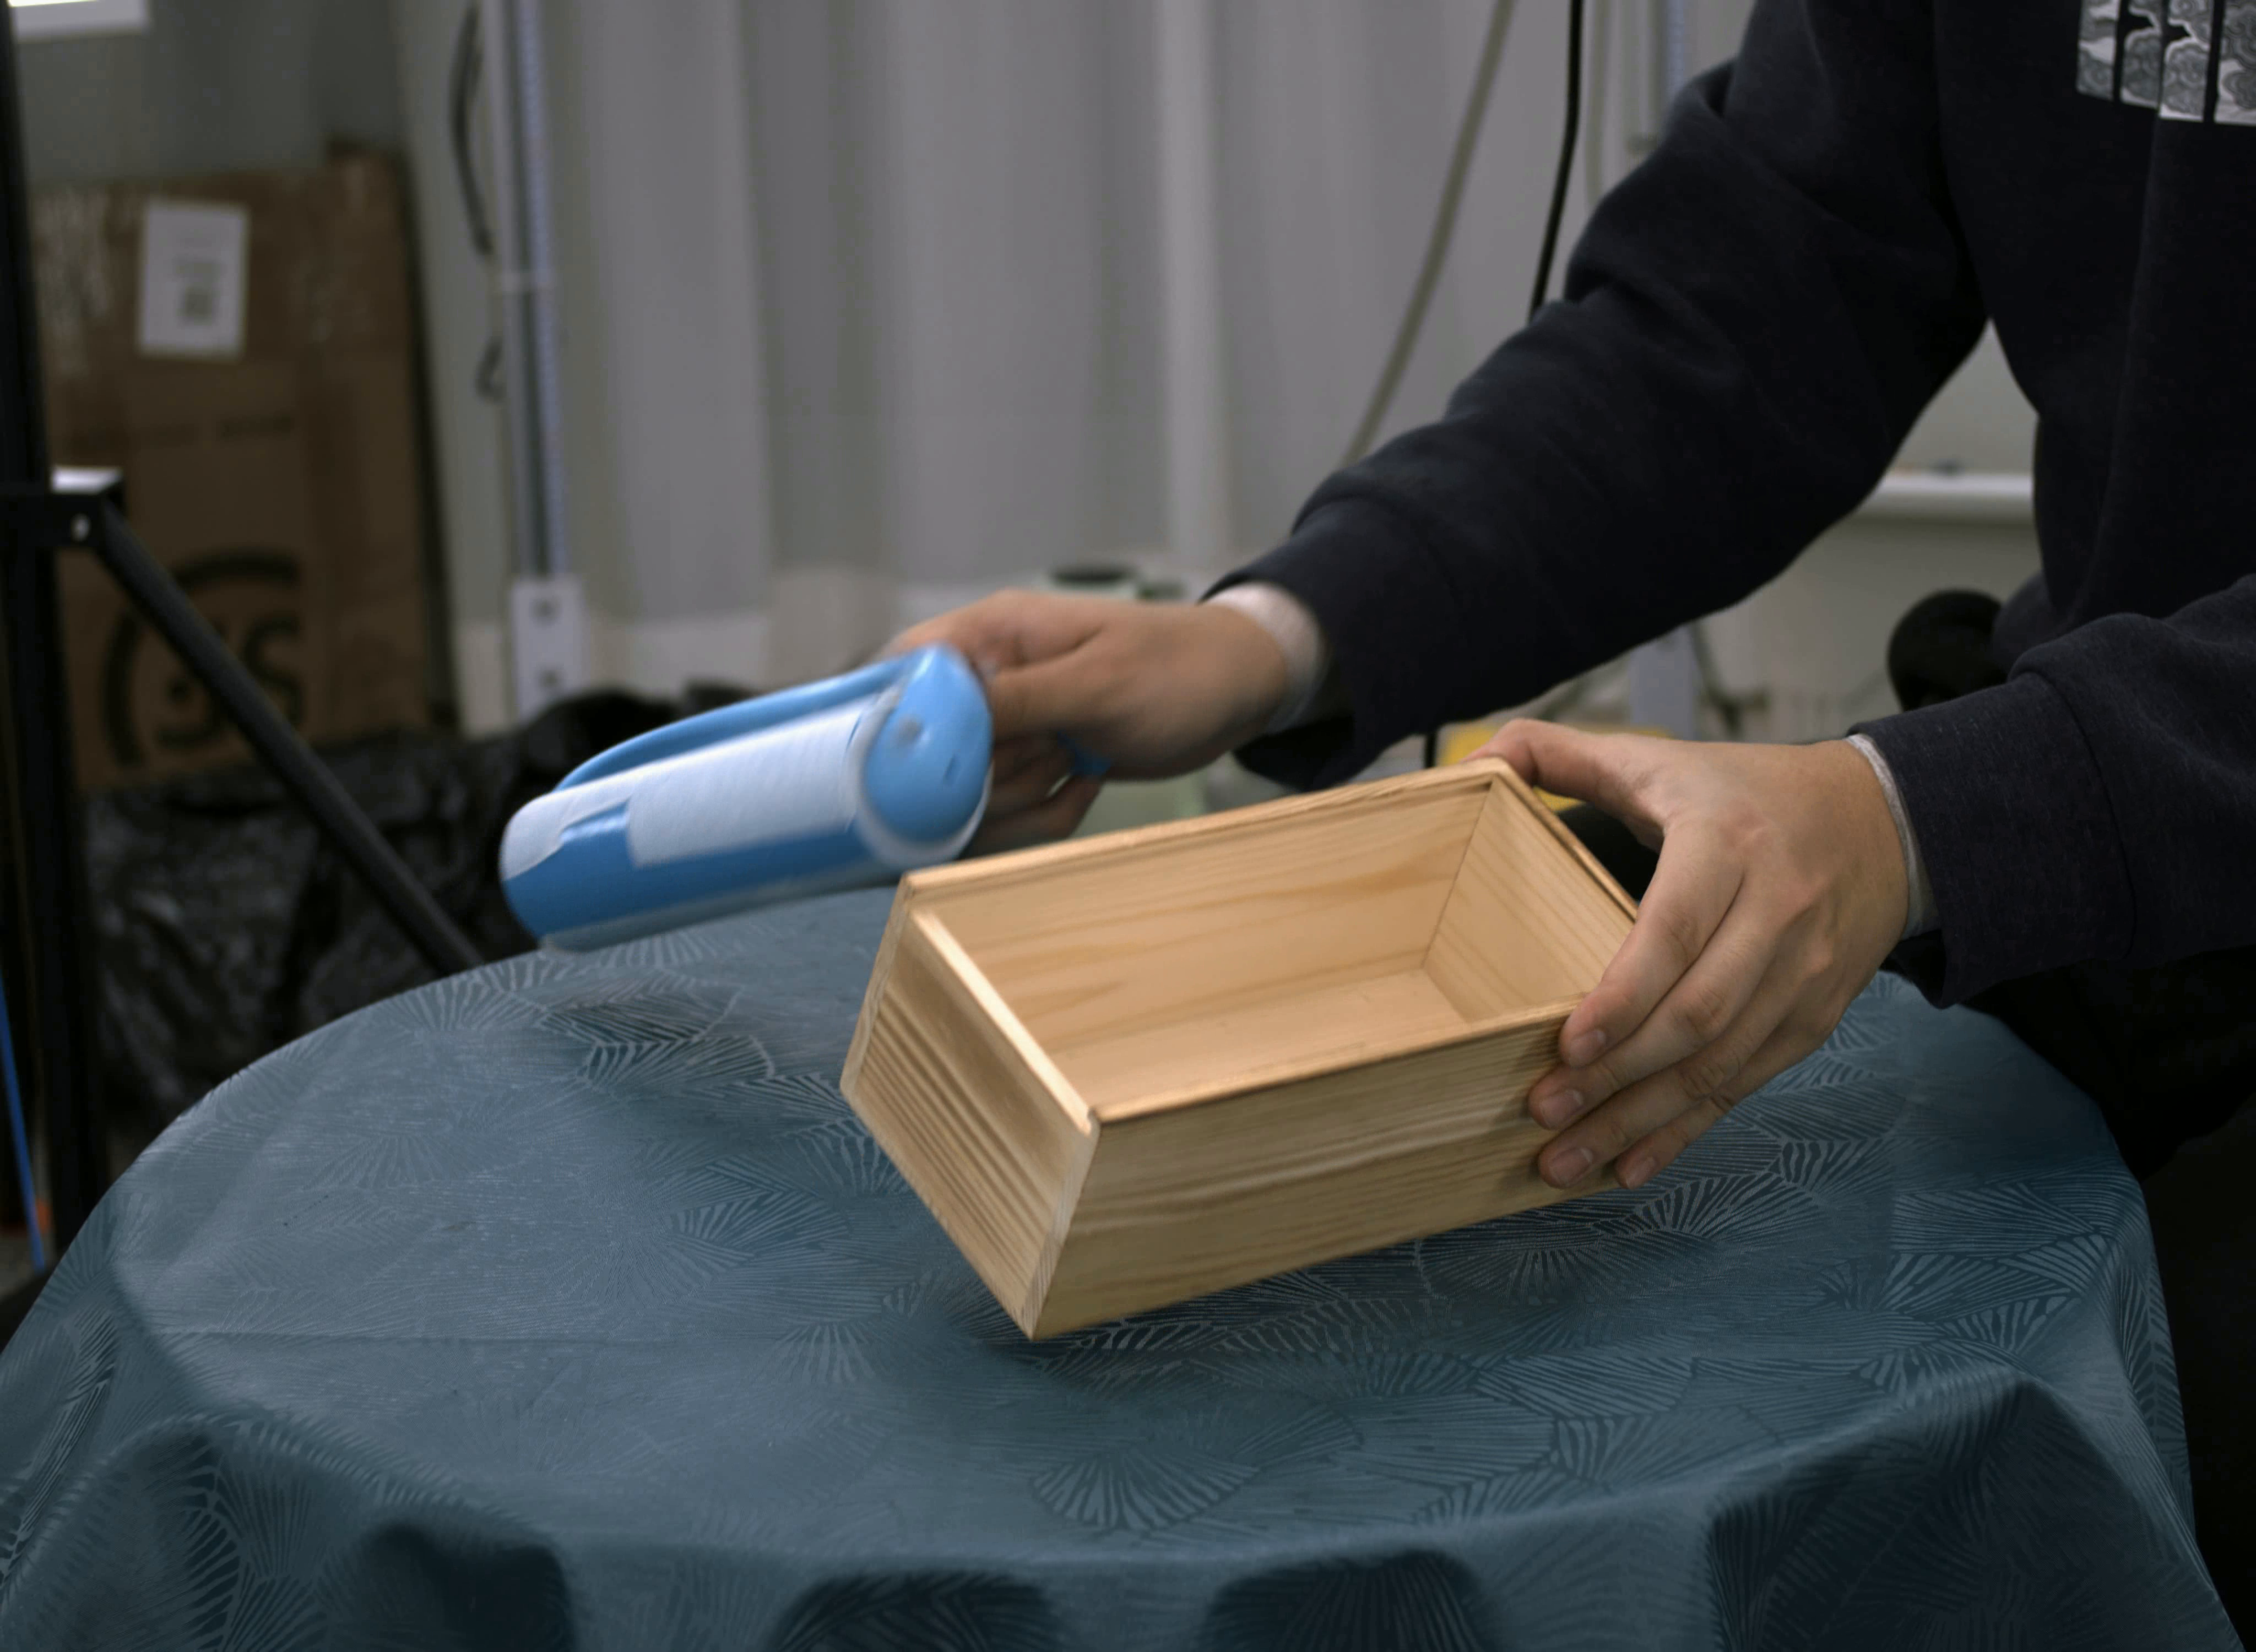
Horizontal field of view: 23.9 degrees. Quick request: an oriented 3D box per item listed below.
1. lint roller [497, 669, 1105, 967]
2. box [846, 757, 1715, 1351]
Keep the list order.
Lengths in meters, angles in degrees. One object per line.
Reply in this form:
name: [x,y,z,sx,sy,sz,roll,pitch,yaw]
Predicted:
lint roller: [-0.085,-0.014,1.711,0.177,0.068,0.233,-26,7,-39]
box: [0.043,0.060,1.481,0.206,0.080,0.110,-12,45,-33]
